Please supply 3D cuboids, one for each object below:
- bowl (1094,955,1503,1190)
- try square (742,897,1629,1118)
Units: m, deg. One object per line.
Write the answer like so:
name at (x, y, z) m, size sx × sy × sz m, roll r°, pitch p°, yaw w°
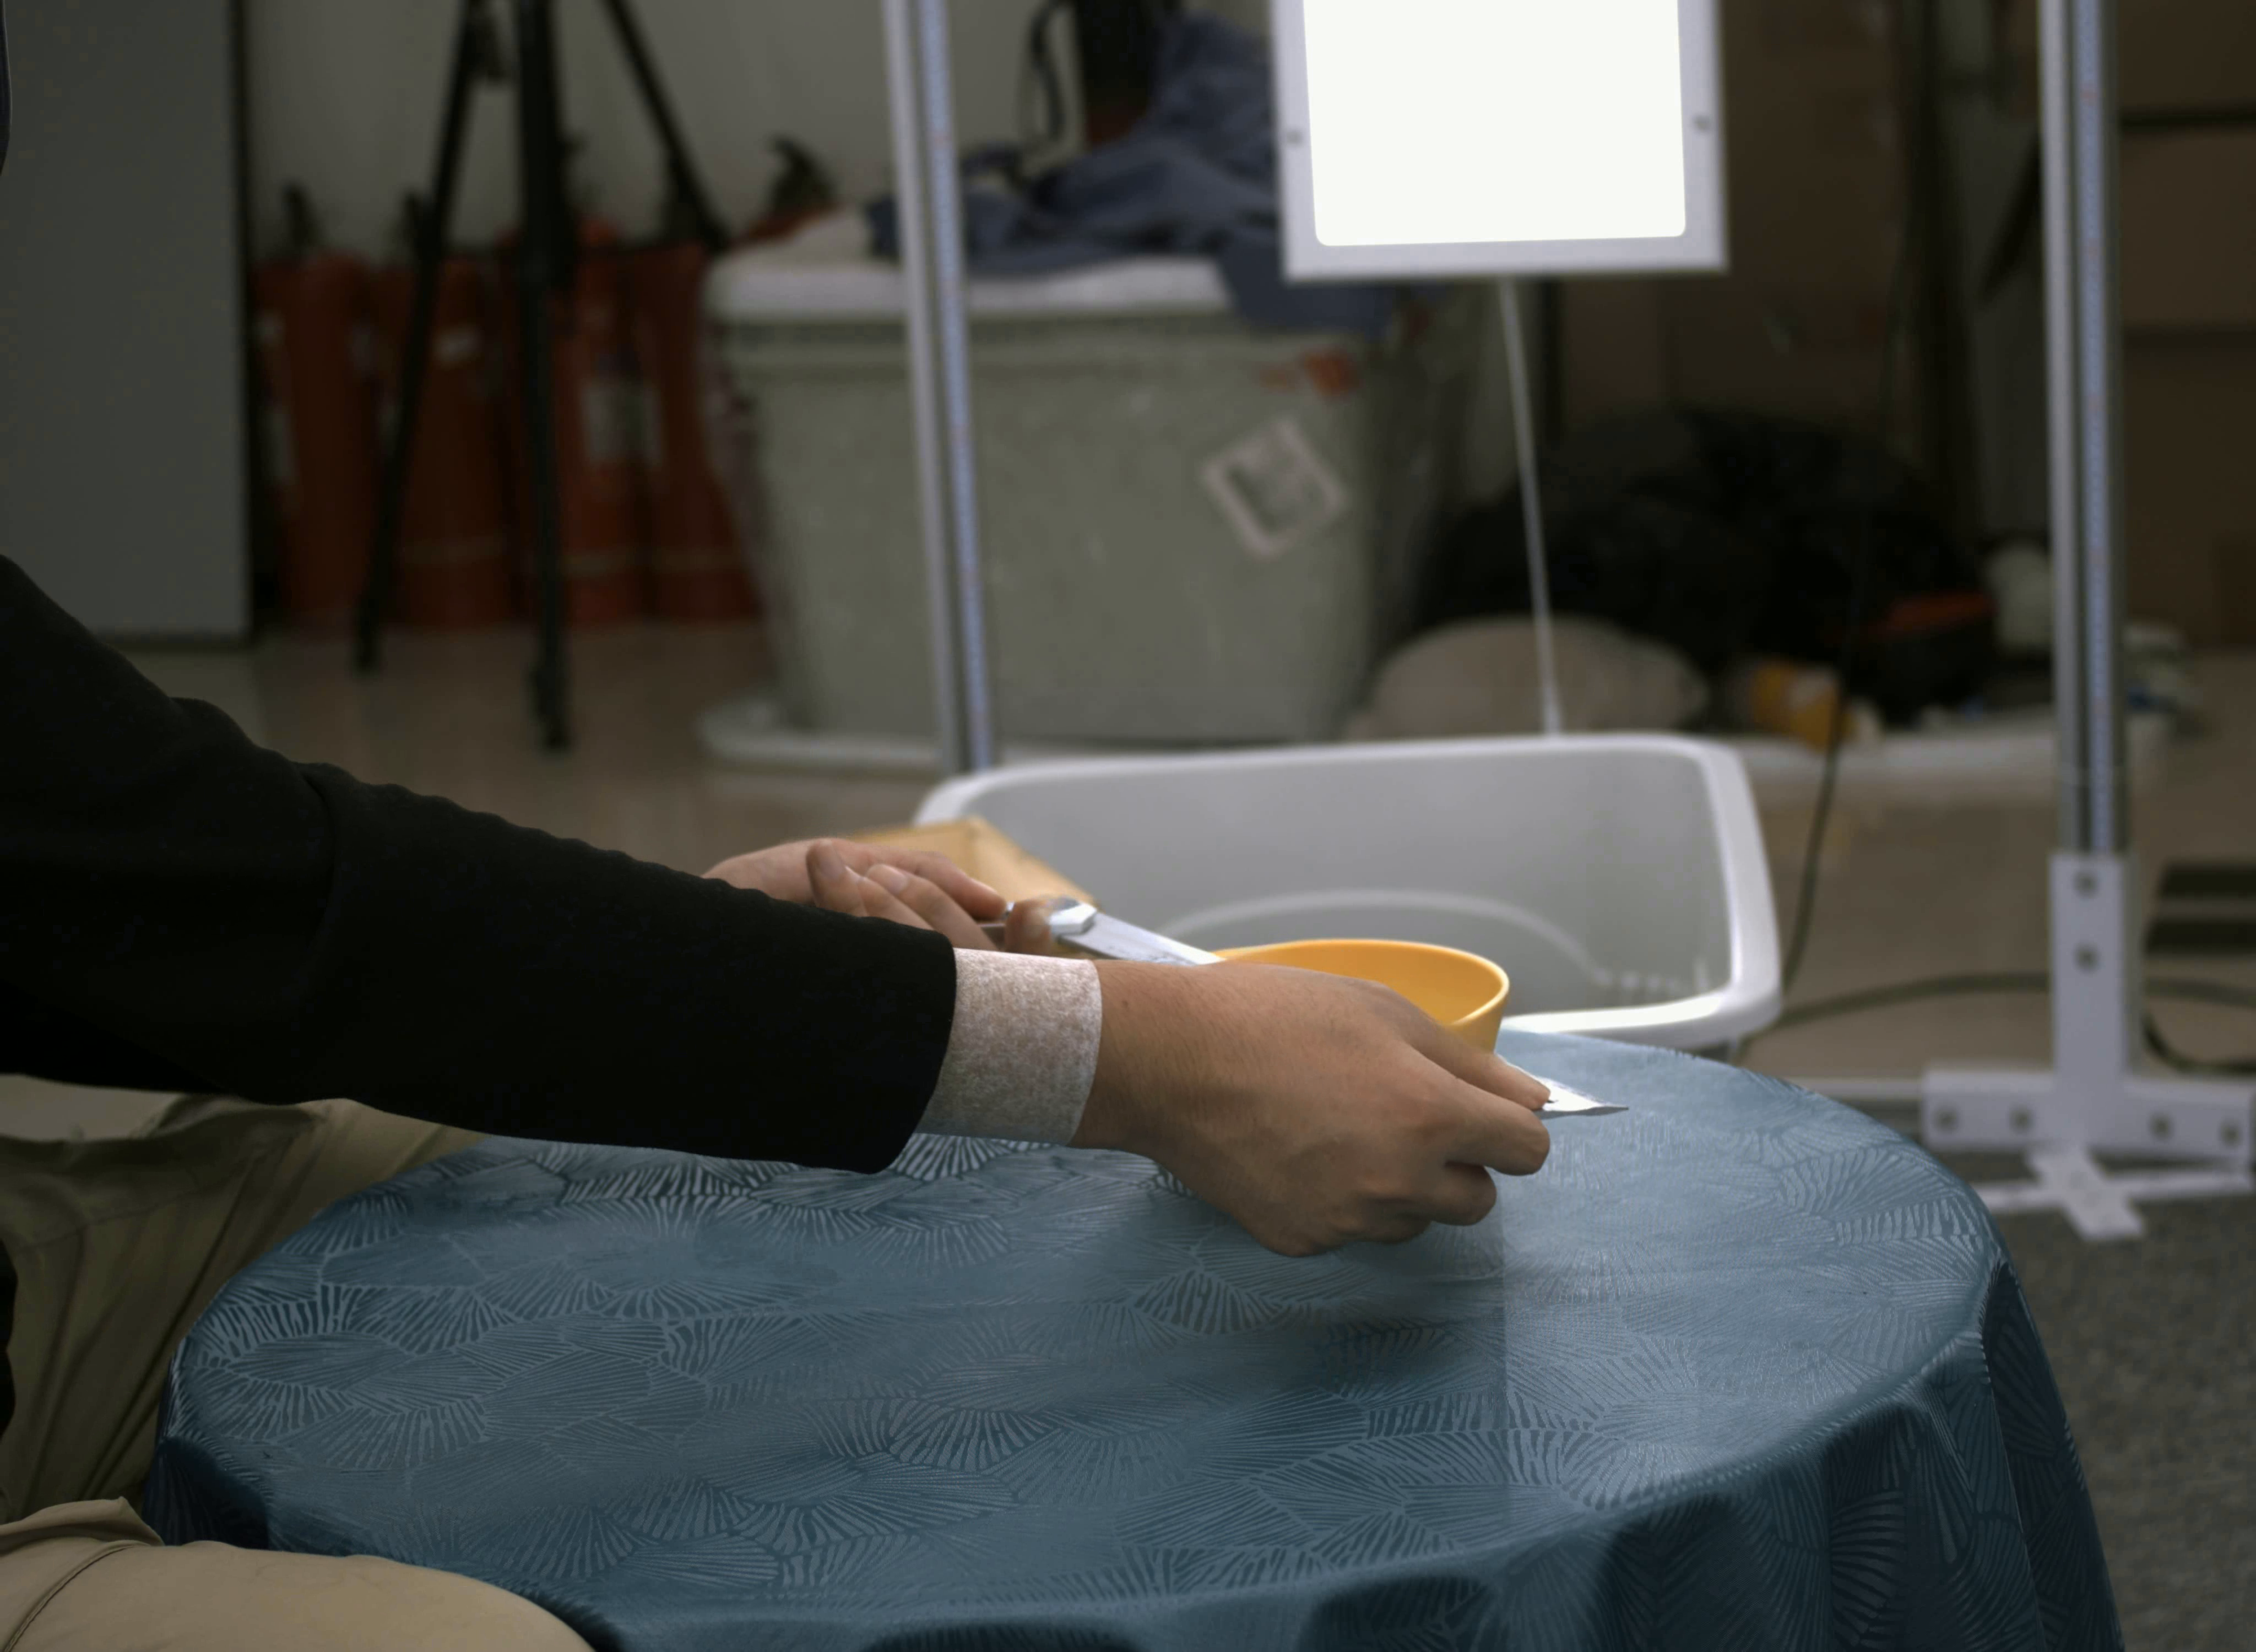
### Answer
bowl at (0.062, 0.089, 1.914) m, size 0.145 × 0.060 × 0.145 m, roll -7°, pitch 11°, yaw 0°
try square at (0.012, 0.064, 1.843) m, size 0.148 × 0.016 × 0.319 m, roll -5°, pitch 13°, yaw -32°
